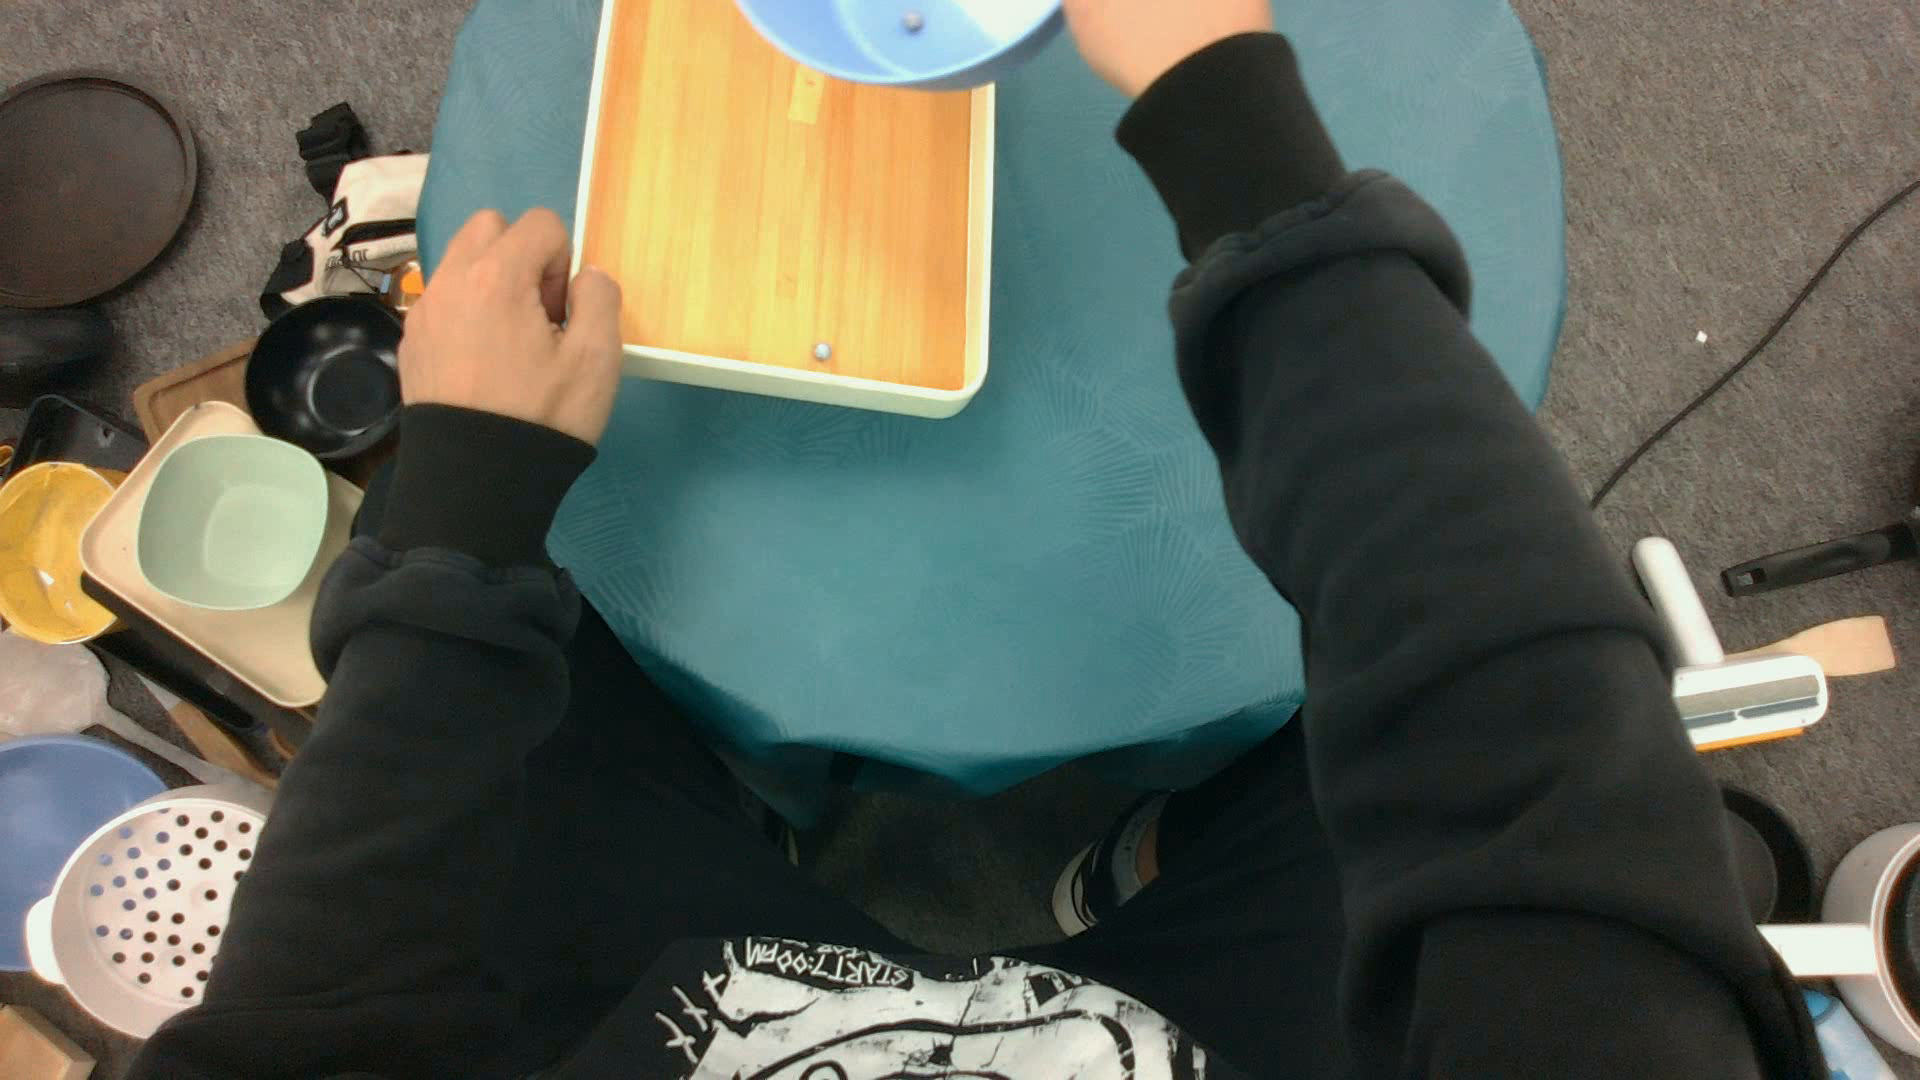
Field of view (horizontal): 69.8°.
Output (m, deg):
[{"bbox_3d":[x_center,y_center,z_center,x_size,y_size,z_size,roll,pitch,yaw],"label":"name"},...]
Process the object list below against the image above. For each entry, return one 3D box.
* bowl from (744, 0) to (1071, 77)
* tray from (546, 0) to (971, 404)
[{"bbox_3d":[-0.009,-0.265,0.579,0.176,0.070,0.176,-3,79,17],"label":"bowl"},{"bbox_3d":[-0.089,-0.215,0.673,0.192,0.027,0.301,7,68,-15],"label":"tray"}]
